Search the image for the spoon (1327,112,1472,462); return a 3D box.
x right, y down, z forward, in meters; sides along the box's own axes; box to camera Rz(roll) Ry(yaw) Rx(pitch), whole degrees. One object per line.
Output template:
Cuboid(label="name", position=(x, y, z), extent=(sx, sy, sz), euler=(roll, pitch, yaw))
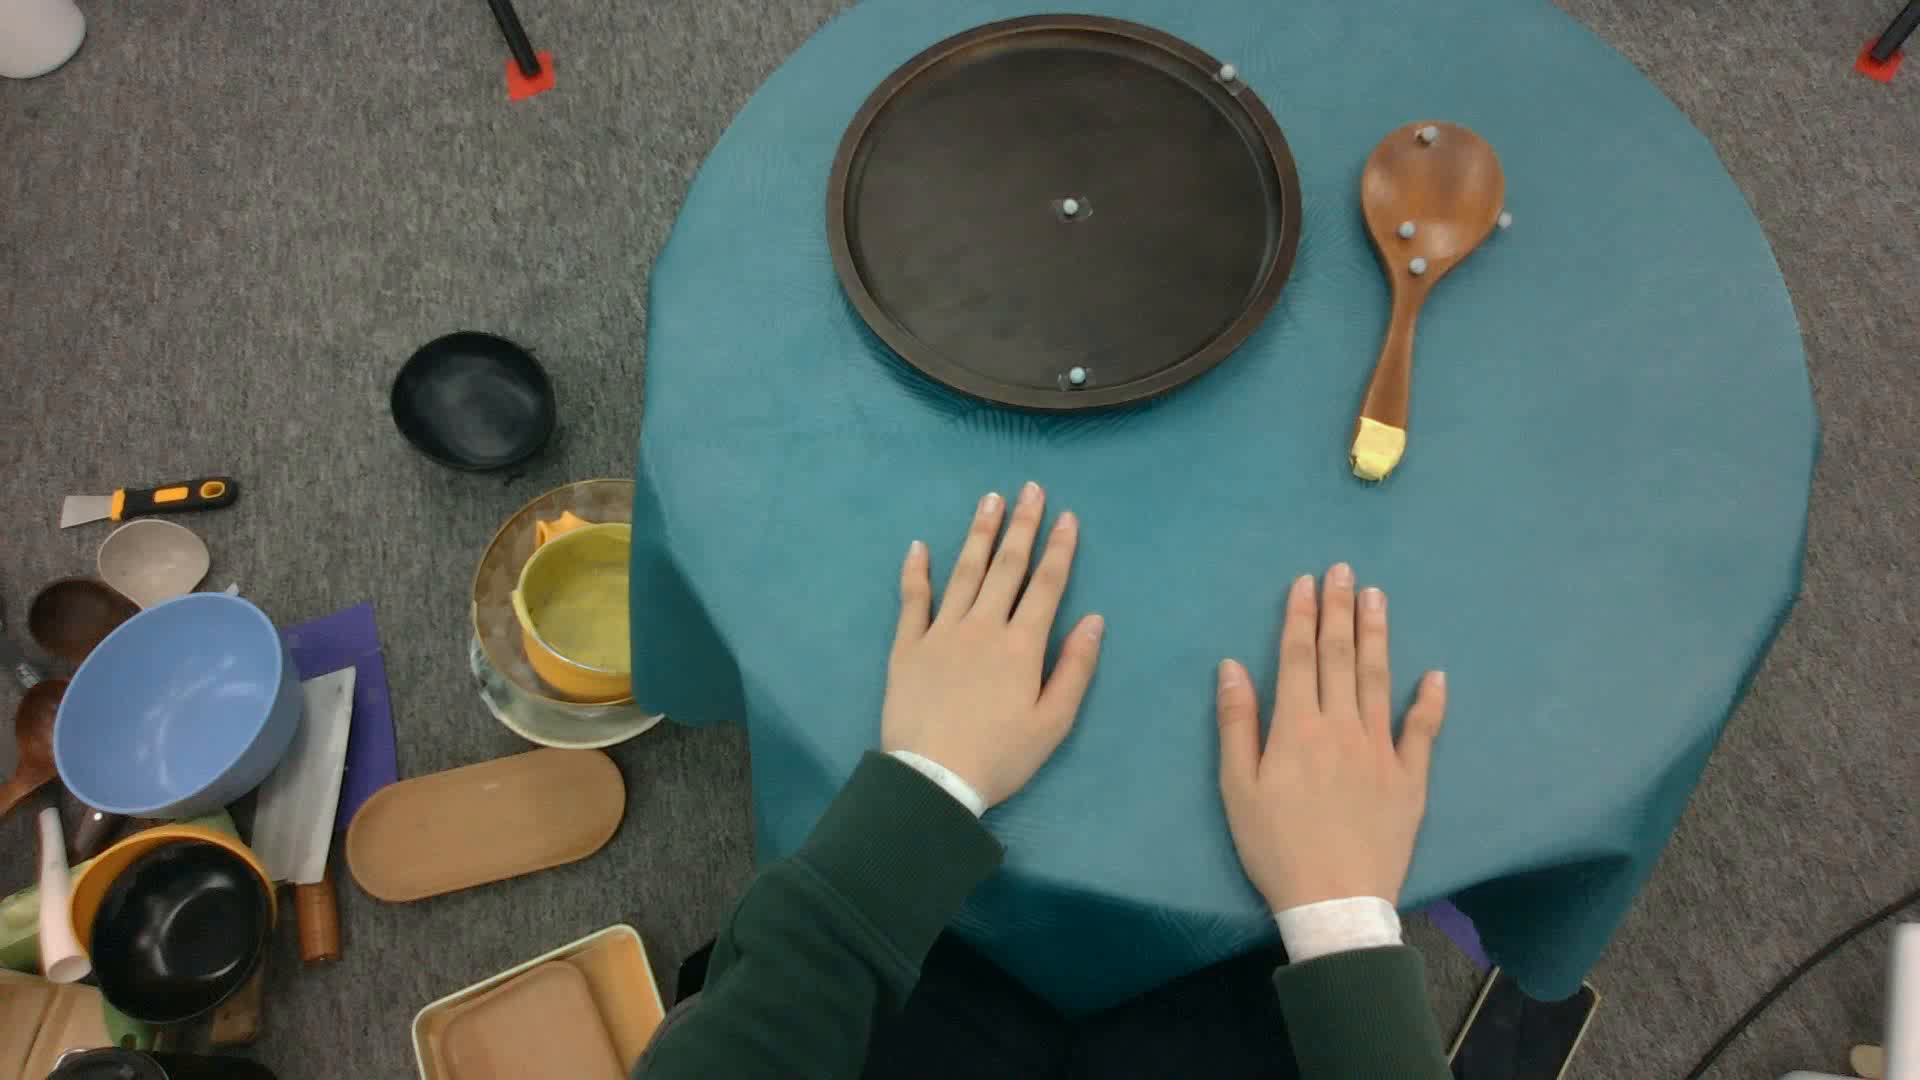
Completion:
Cuboid(label="spoon", position=(0.220, -0.136, 0.718), extent=(0.075, 0.017, 0.216), euler=(14, 67, 6))

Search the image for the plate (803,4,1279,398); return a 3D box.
Cuboid(label="plate", position=(0.042, -0.186, 0.740), extent=(0.255, 0.029, 0.255), euler=(0, 65, 1))
